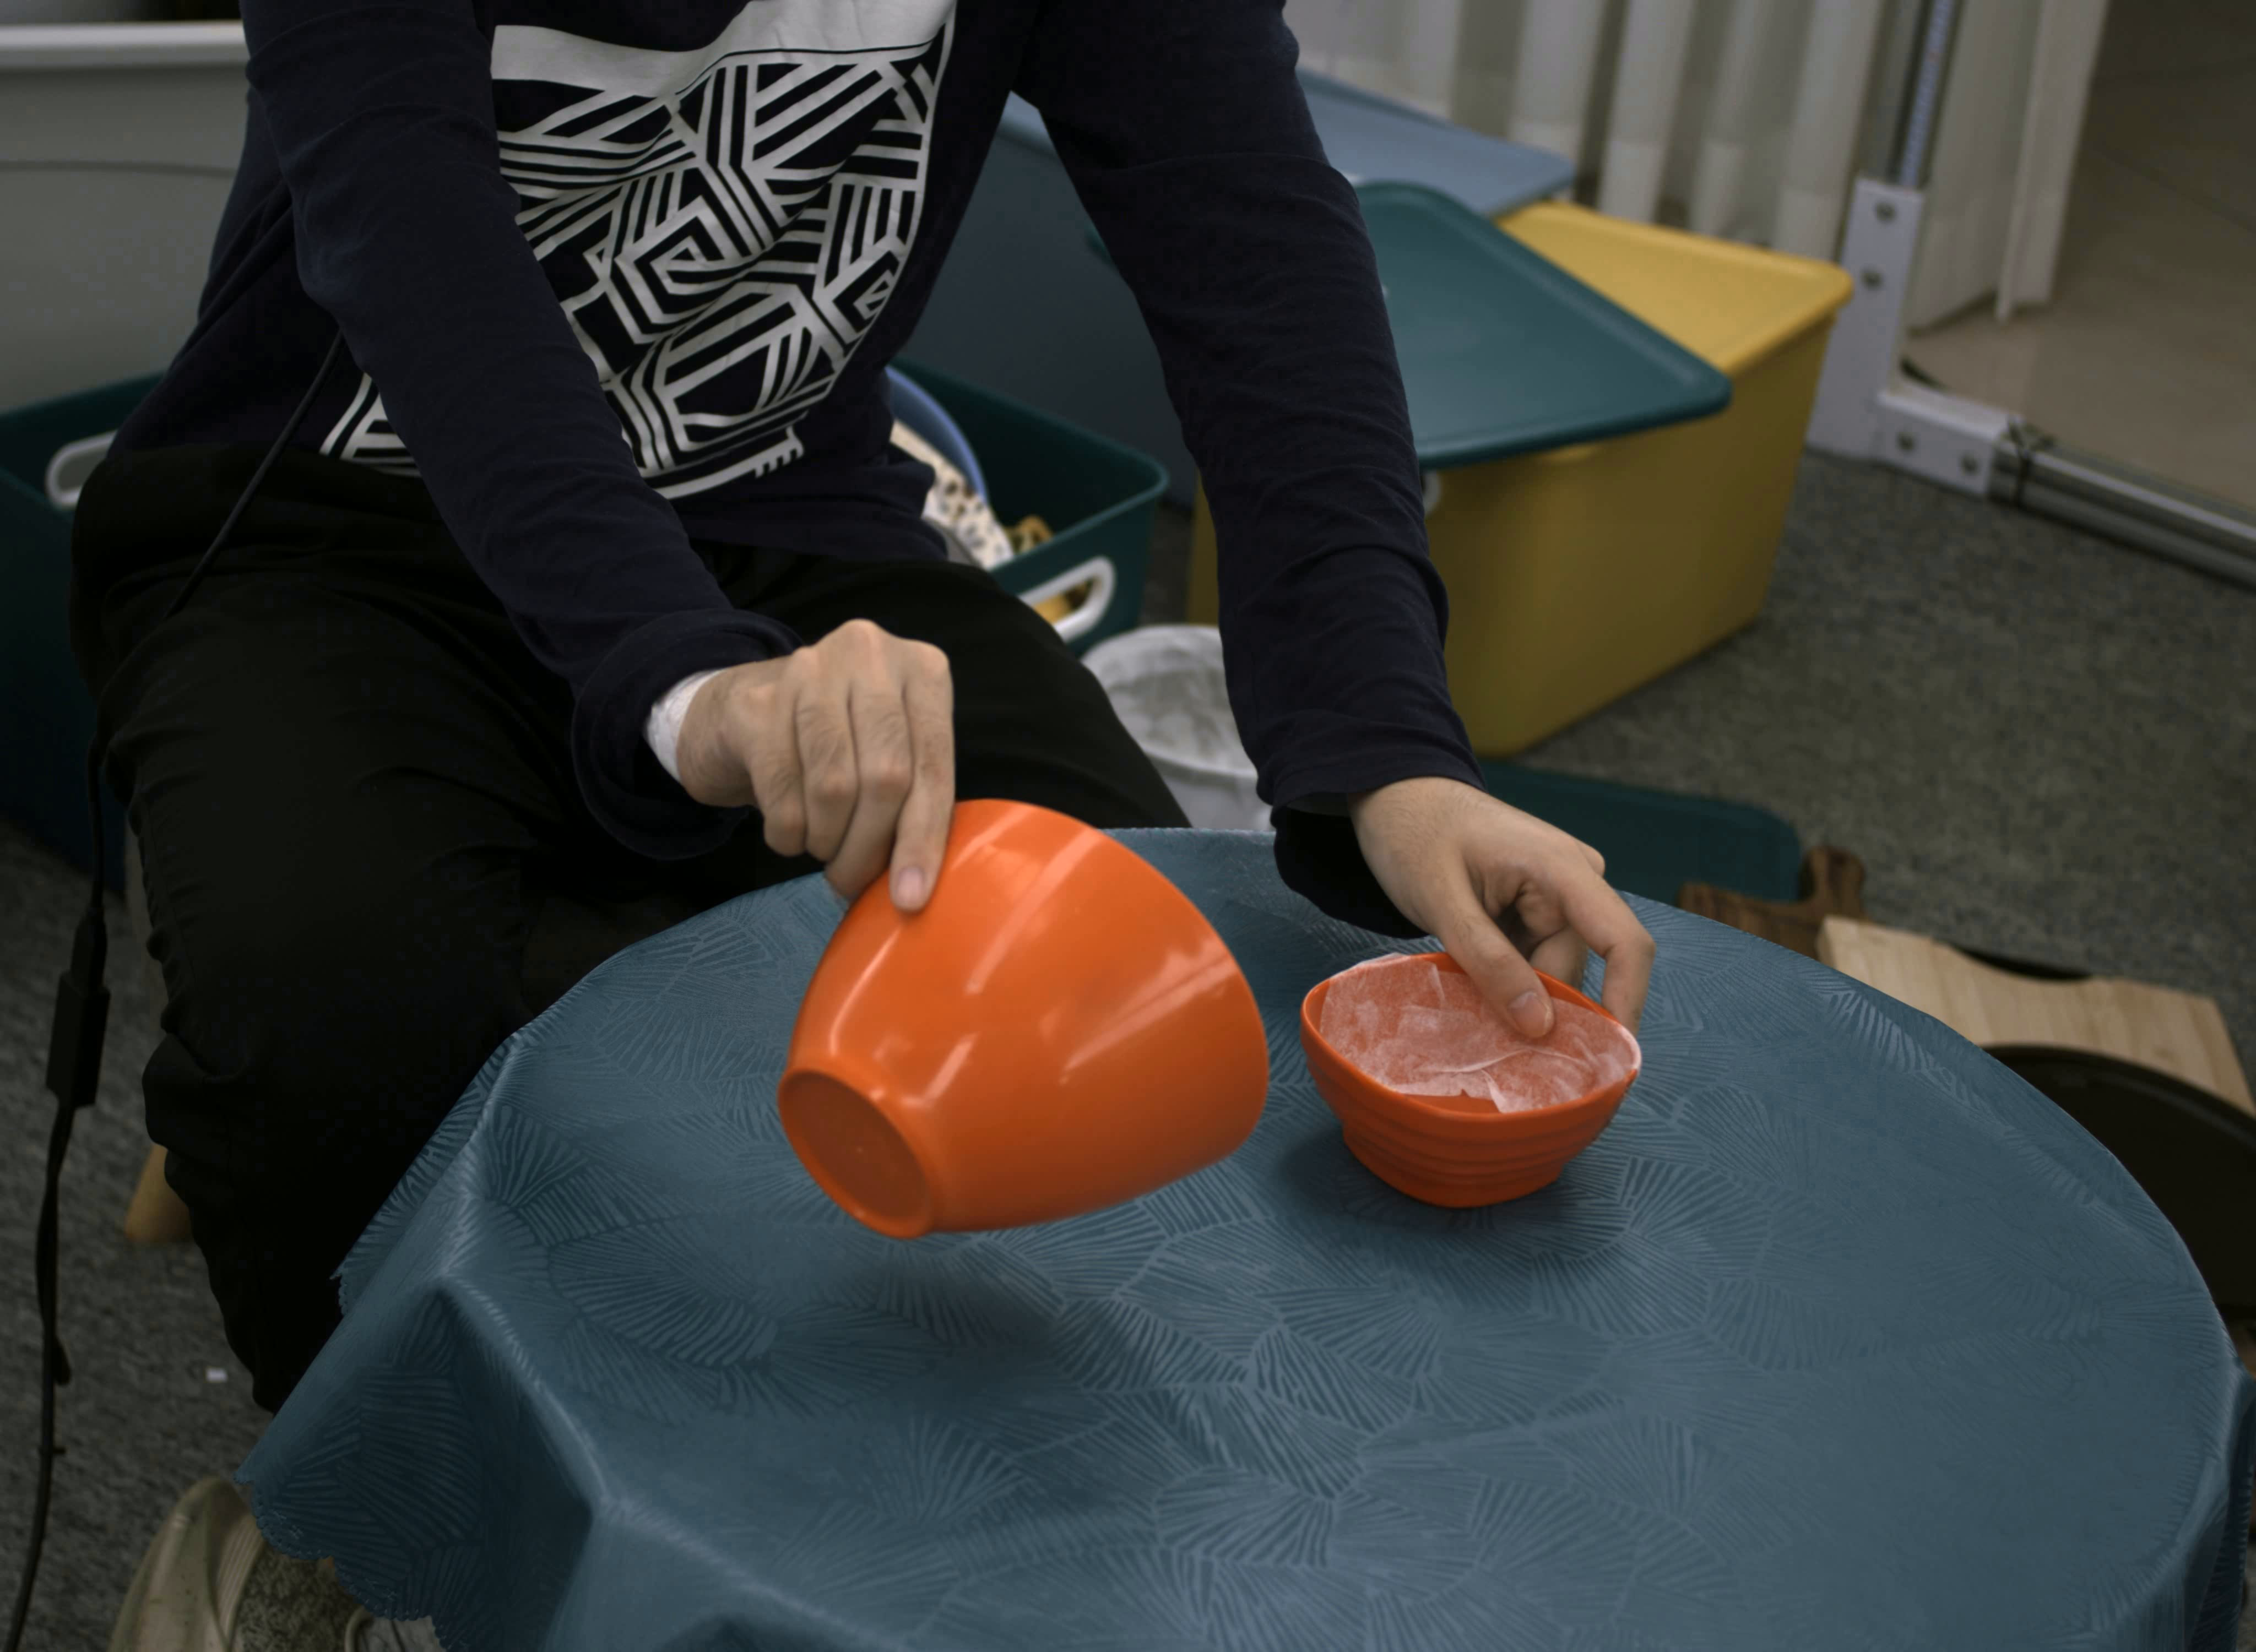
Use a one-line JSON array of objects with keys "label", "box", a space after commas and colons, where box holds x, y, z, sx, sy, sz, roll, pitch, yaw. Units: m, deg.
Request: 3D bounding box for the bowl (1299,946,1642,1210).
[{"label": "bowl", "box": [0.115, 0.091, 1.839, 0.118, 0.051, 0.119, 4, 28, -3]}]

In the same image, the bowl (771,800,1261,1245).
[{"label": "bowl", "box": [-0.047, 0.075, 1.671, 0.149, 0.147, 0.104, 25, 52, 32]}]
